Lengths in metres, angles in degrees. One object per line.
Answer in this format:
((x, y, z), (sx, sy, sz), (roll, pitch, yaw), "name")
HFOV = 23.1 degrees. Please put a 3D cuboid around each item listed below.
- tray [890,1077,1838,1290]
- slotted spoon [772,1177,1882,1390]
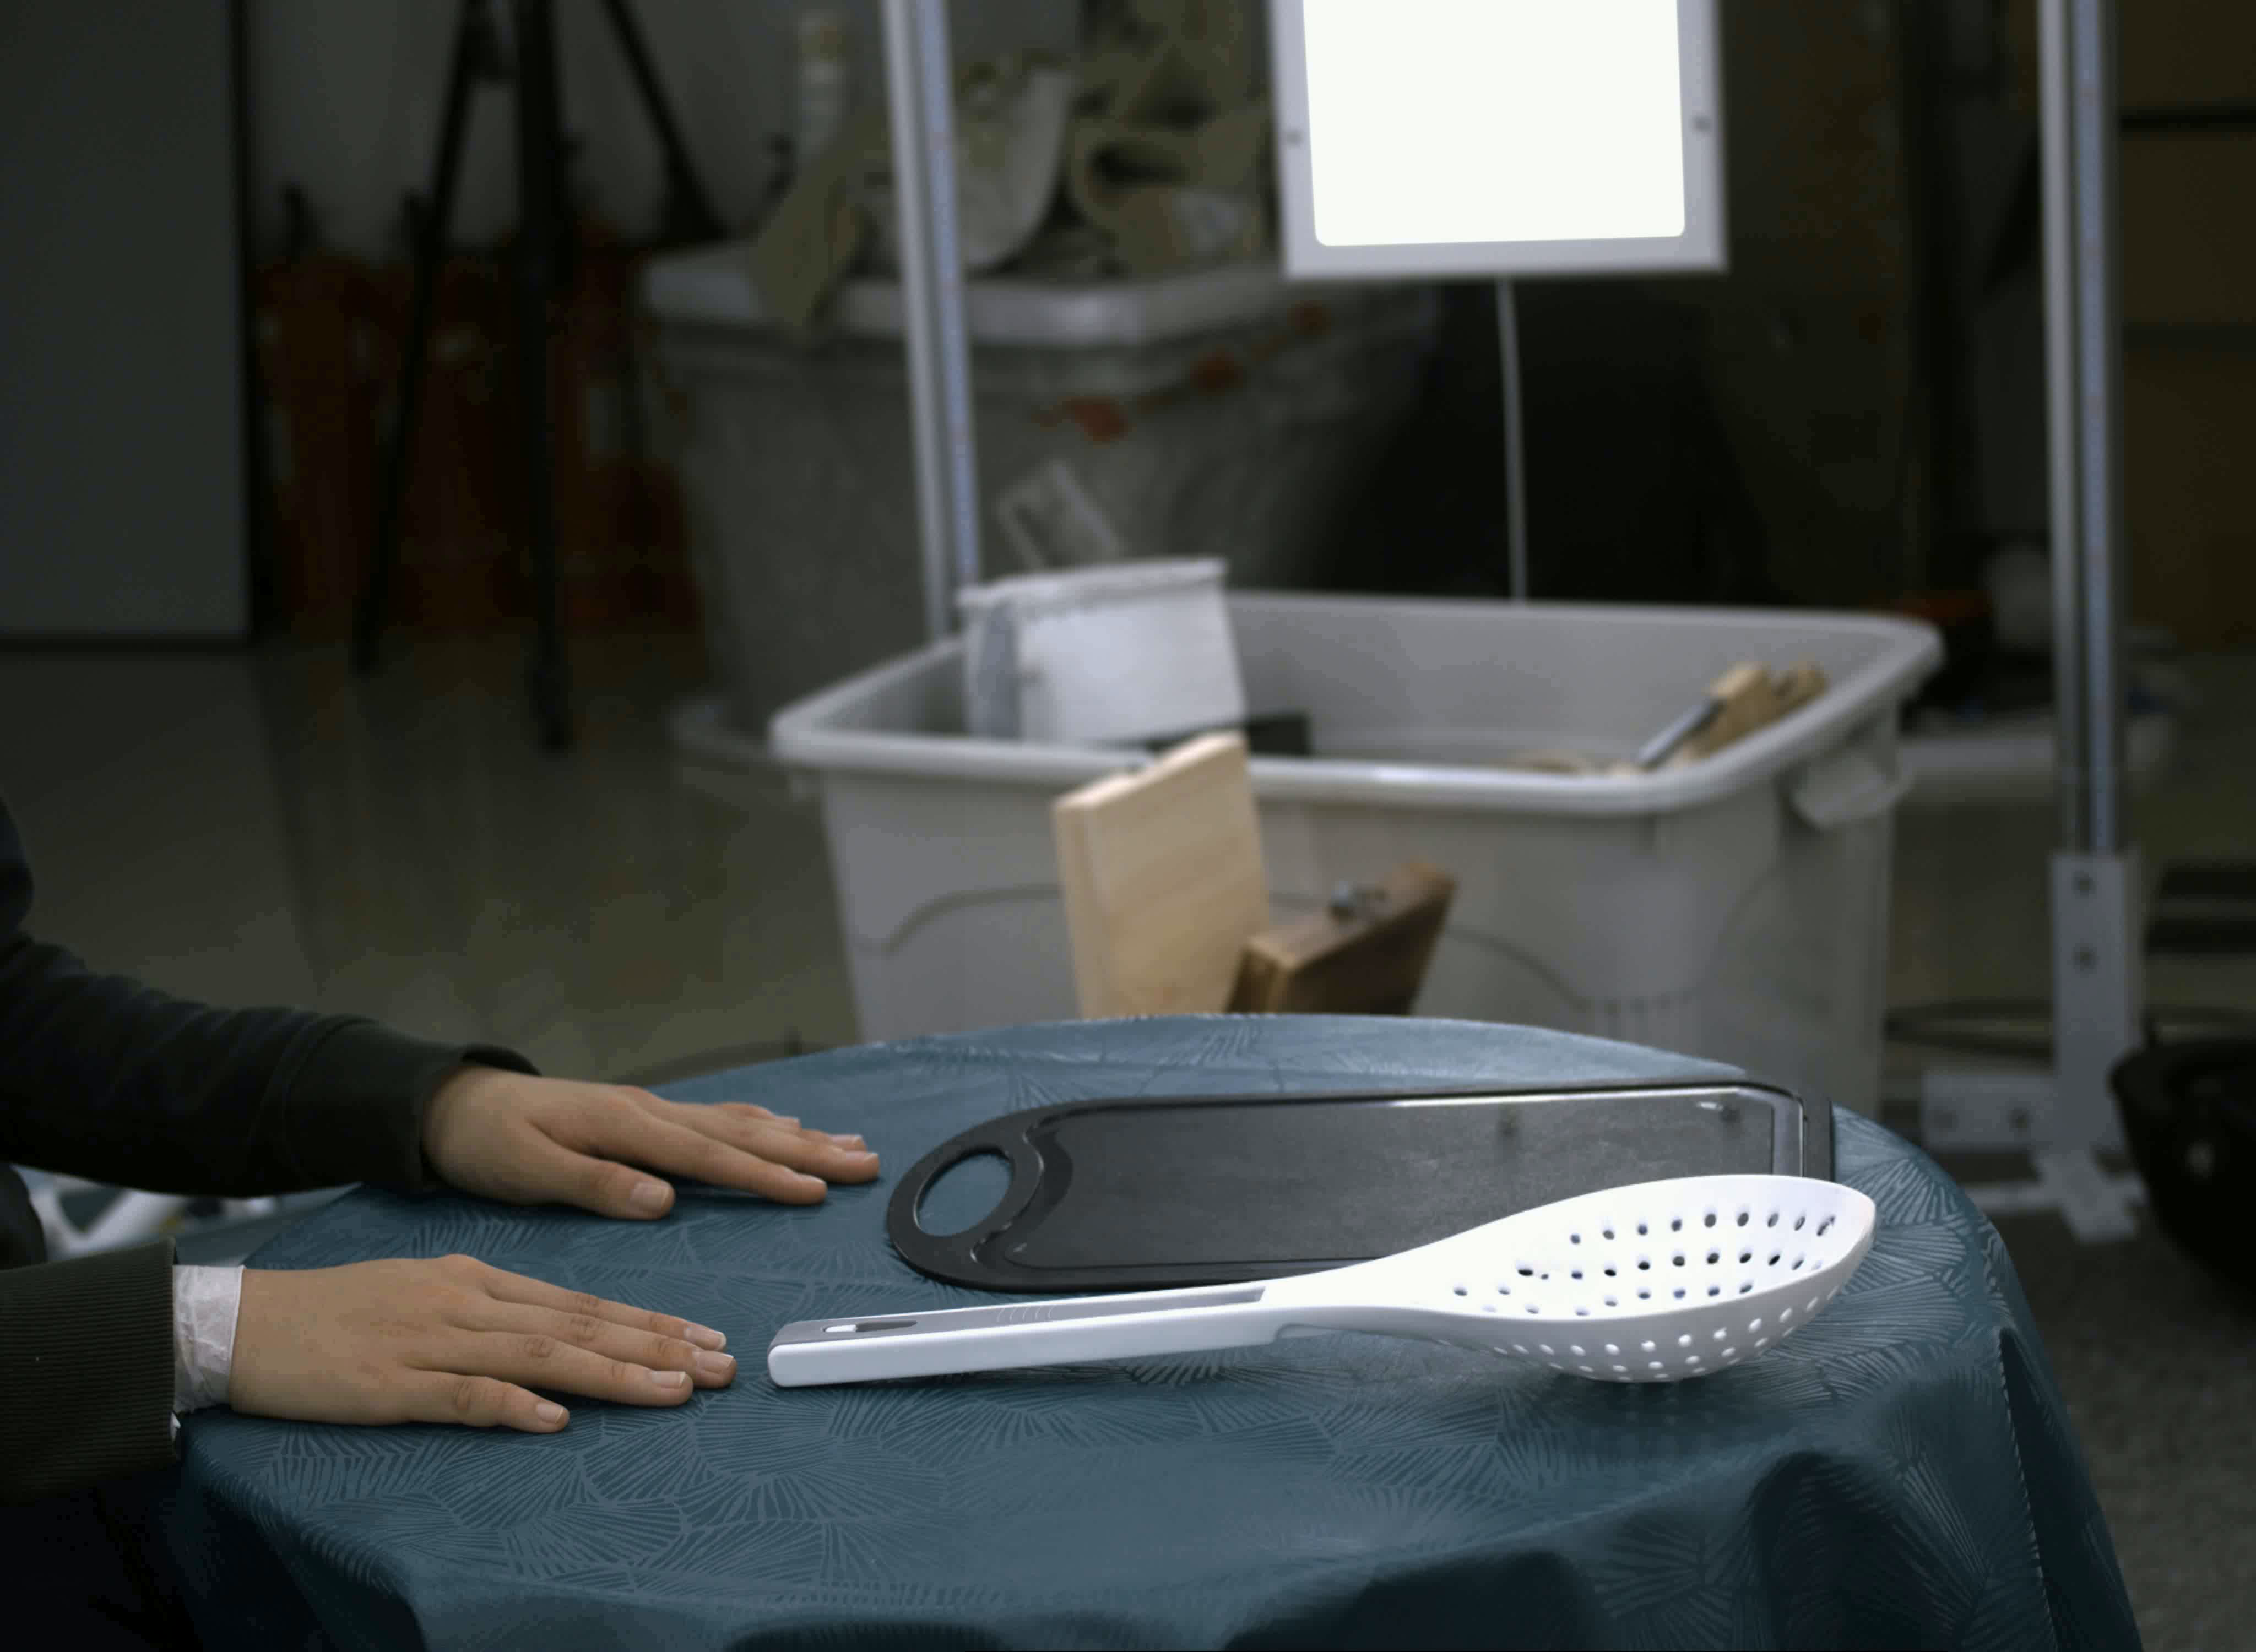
((0.080, 0.120, 1.882), (0.327, 0.010, 0.209), (-3, 13, 10), "tray")
((0.059, 0.147, 1.697), (0.352, 0.046, 0.134), (-3, 12, 13), "slotted spoon")
